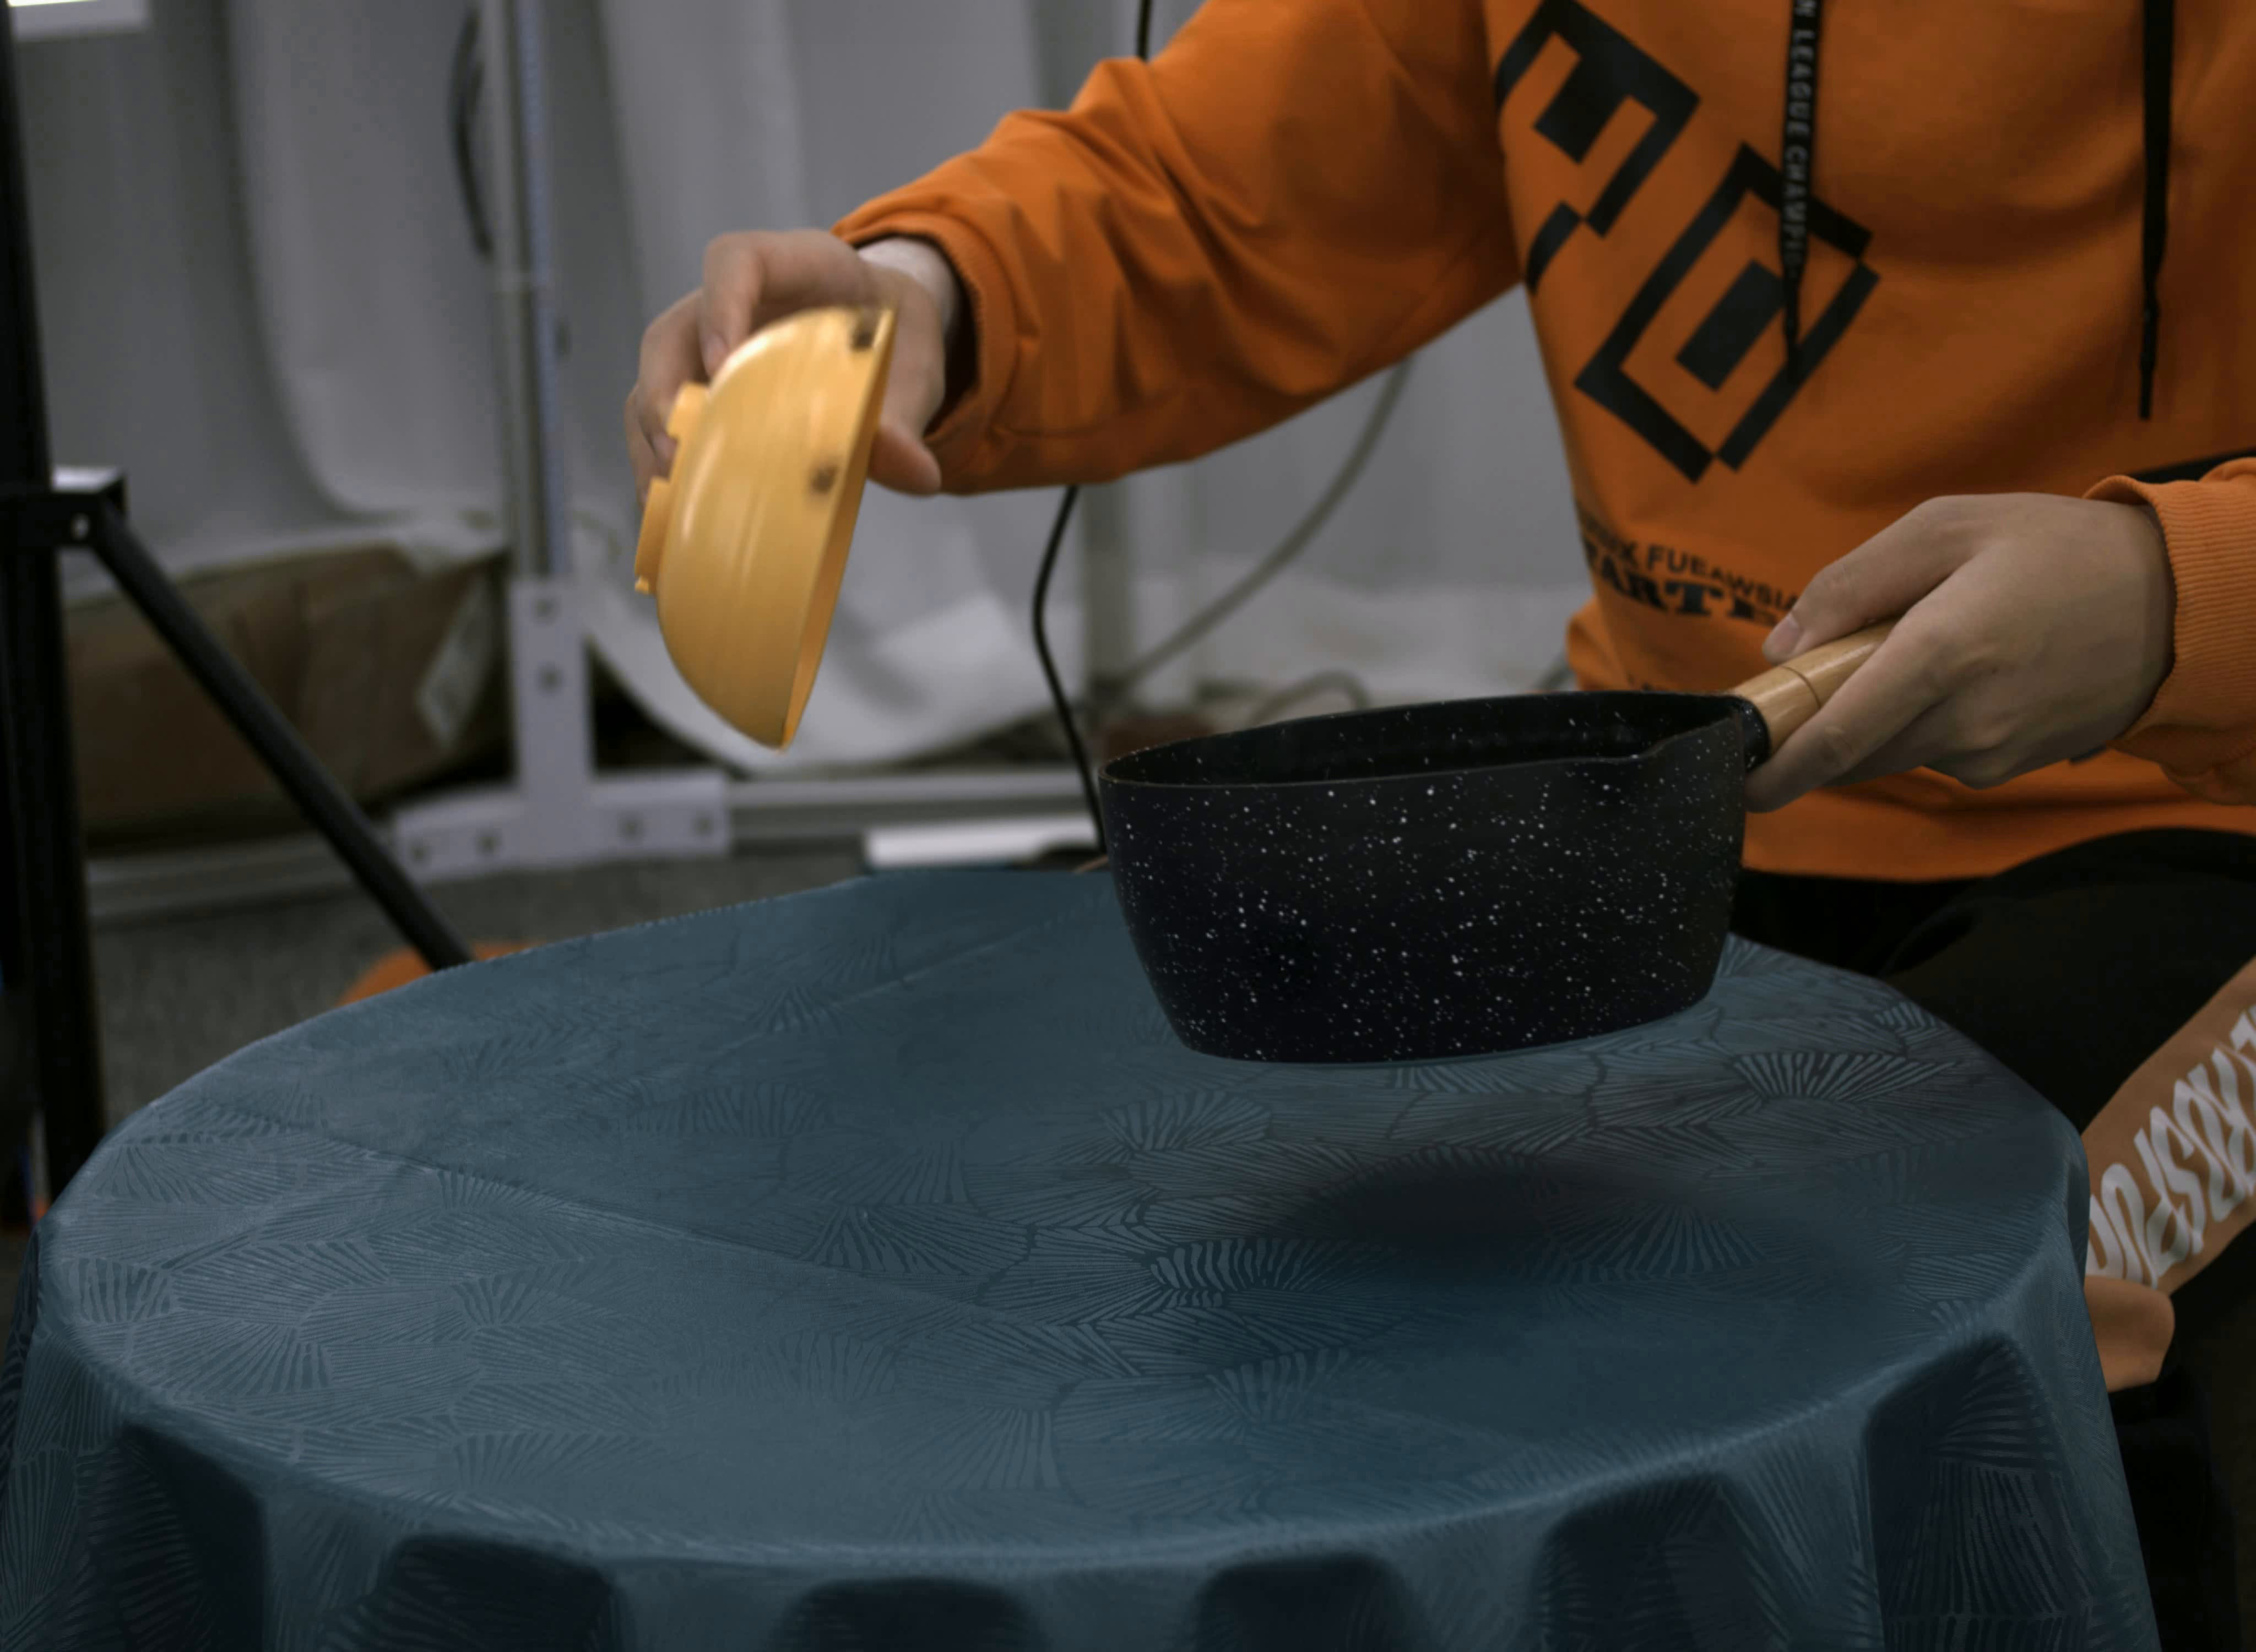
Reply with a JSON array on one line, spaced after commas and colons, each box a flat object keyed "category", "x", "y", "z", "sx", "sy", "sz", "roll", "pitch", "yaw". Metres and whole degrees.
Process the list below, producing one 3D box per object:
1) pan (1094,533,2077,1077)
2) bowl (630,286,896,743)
[{"category": "pan", "x": 0.150, "y": -0.008, "z": 1.553, "sx": 0.335, "sy": 0.108, "sz": 0.211, "roll": -12, "pitch": 7, "yaw": -32}, {"category": "bowl", "x": -0.118, "y": -0.103, "z": 1.658, "sx": 0.060, "sy": 0.146, "sz": 0.145, "roll": 14, "pitch": 17, "yaw": 0}]
